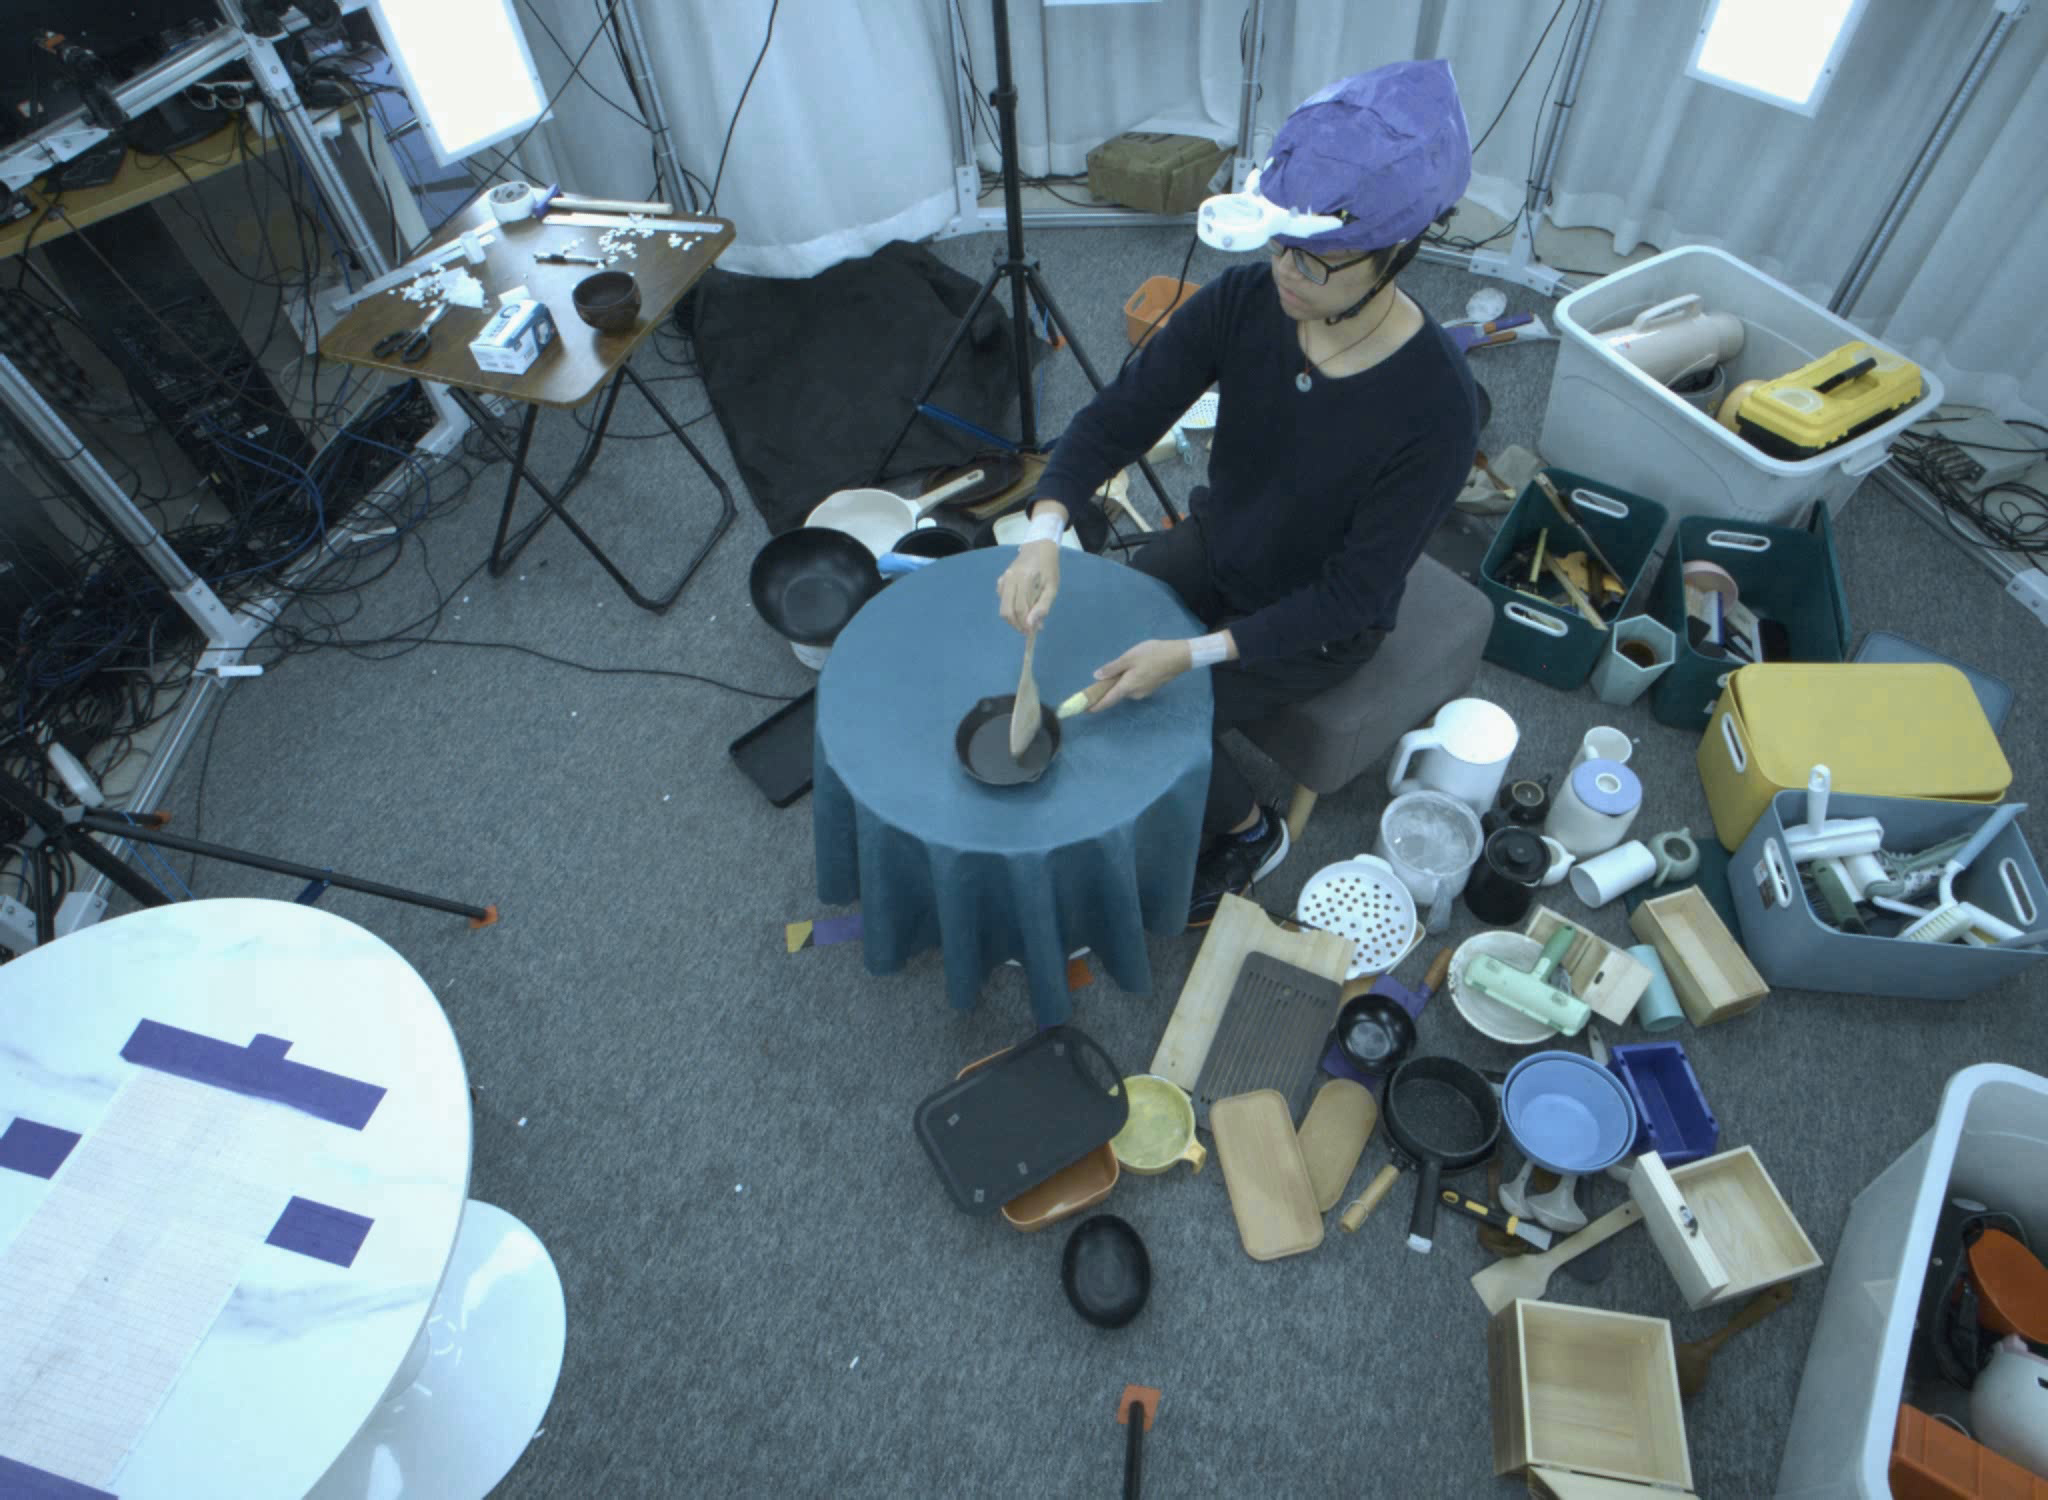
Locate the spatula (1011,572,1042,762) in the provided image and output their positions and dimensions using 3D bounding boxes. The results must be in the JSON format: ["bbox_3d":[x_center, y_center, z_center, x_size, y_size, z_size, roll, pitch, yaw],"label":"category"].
[{"bbox_3d":[0.009,-0.113,1.662,0.016,0.330,0.080,26,53,17],"label":"spatula"}]

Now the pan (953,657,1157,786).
[{"bbox_3d":[0.052,-0.051,1.778,0.326,0.050,0.166,-26,58,-9],"label":"pan"}]
